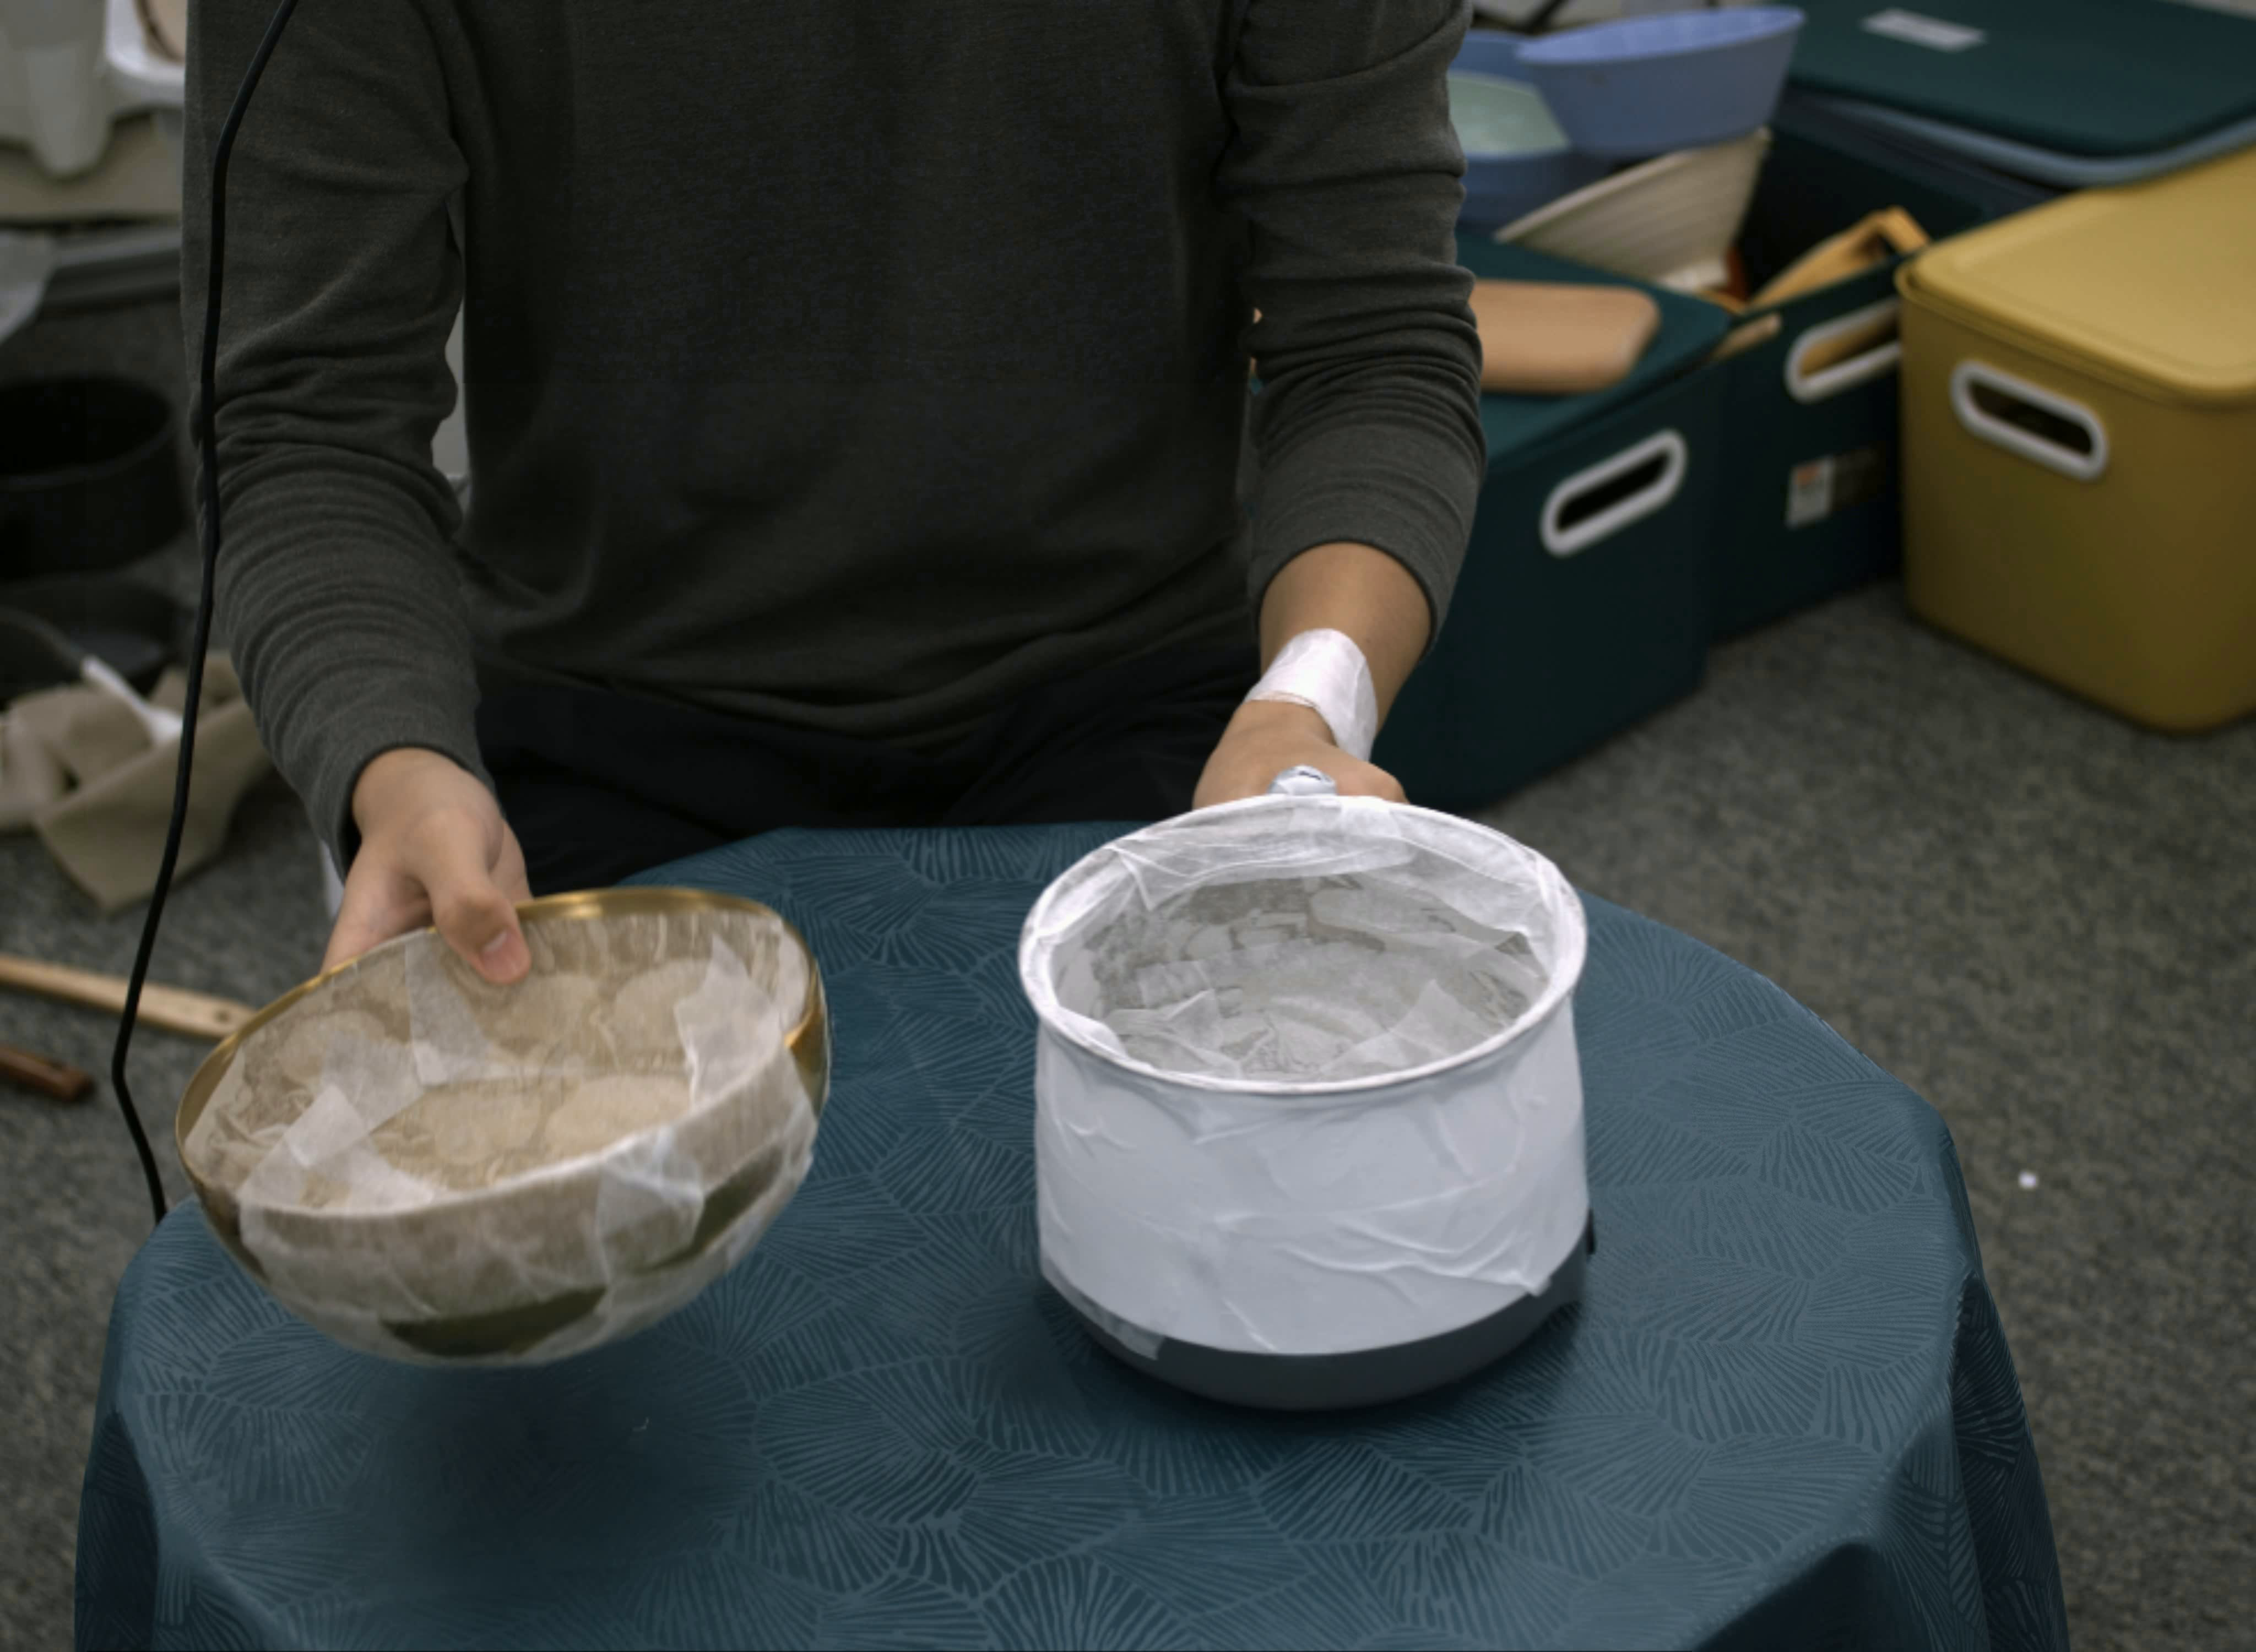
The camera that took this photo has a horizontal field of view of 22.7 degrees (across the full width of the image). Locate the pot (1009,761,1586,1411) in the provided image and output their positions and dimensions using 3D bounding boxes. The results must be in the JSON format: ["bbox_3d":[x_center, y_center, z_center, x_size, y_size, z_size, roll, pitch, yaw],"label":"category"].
[{"bbox_3d":[0.055,0.075,1.794,0.178,0.135,0.237,-2,29,2],"label":"pot"}]

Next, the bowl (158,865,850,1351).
[{"bbox_3d":[-0.177,0.096,1.695,0.213,0.094,0.217,-13,22,6],"label":"bowl"}]
